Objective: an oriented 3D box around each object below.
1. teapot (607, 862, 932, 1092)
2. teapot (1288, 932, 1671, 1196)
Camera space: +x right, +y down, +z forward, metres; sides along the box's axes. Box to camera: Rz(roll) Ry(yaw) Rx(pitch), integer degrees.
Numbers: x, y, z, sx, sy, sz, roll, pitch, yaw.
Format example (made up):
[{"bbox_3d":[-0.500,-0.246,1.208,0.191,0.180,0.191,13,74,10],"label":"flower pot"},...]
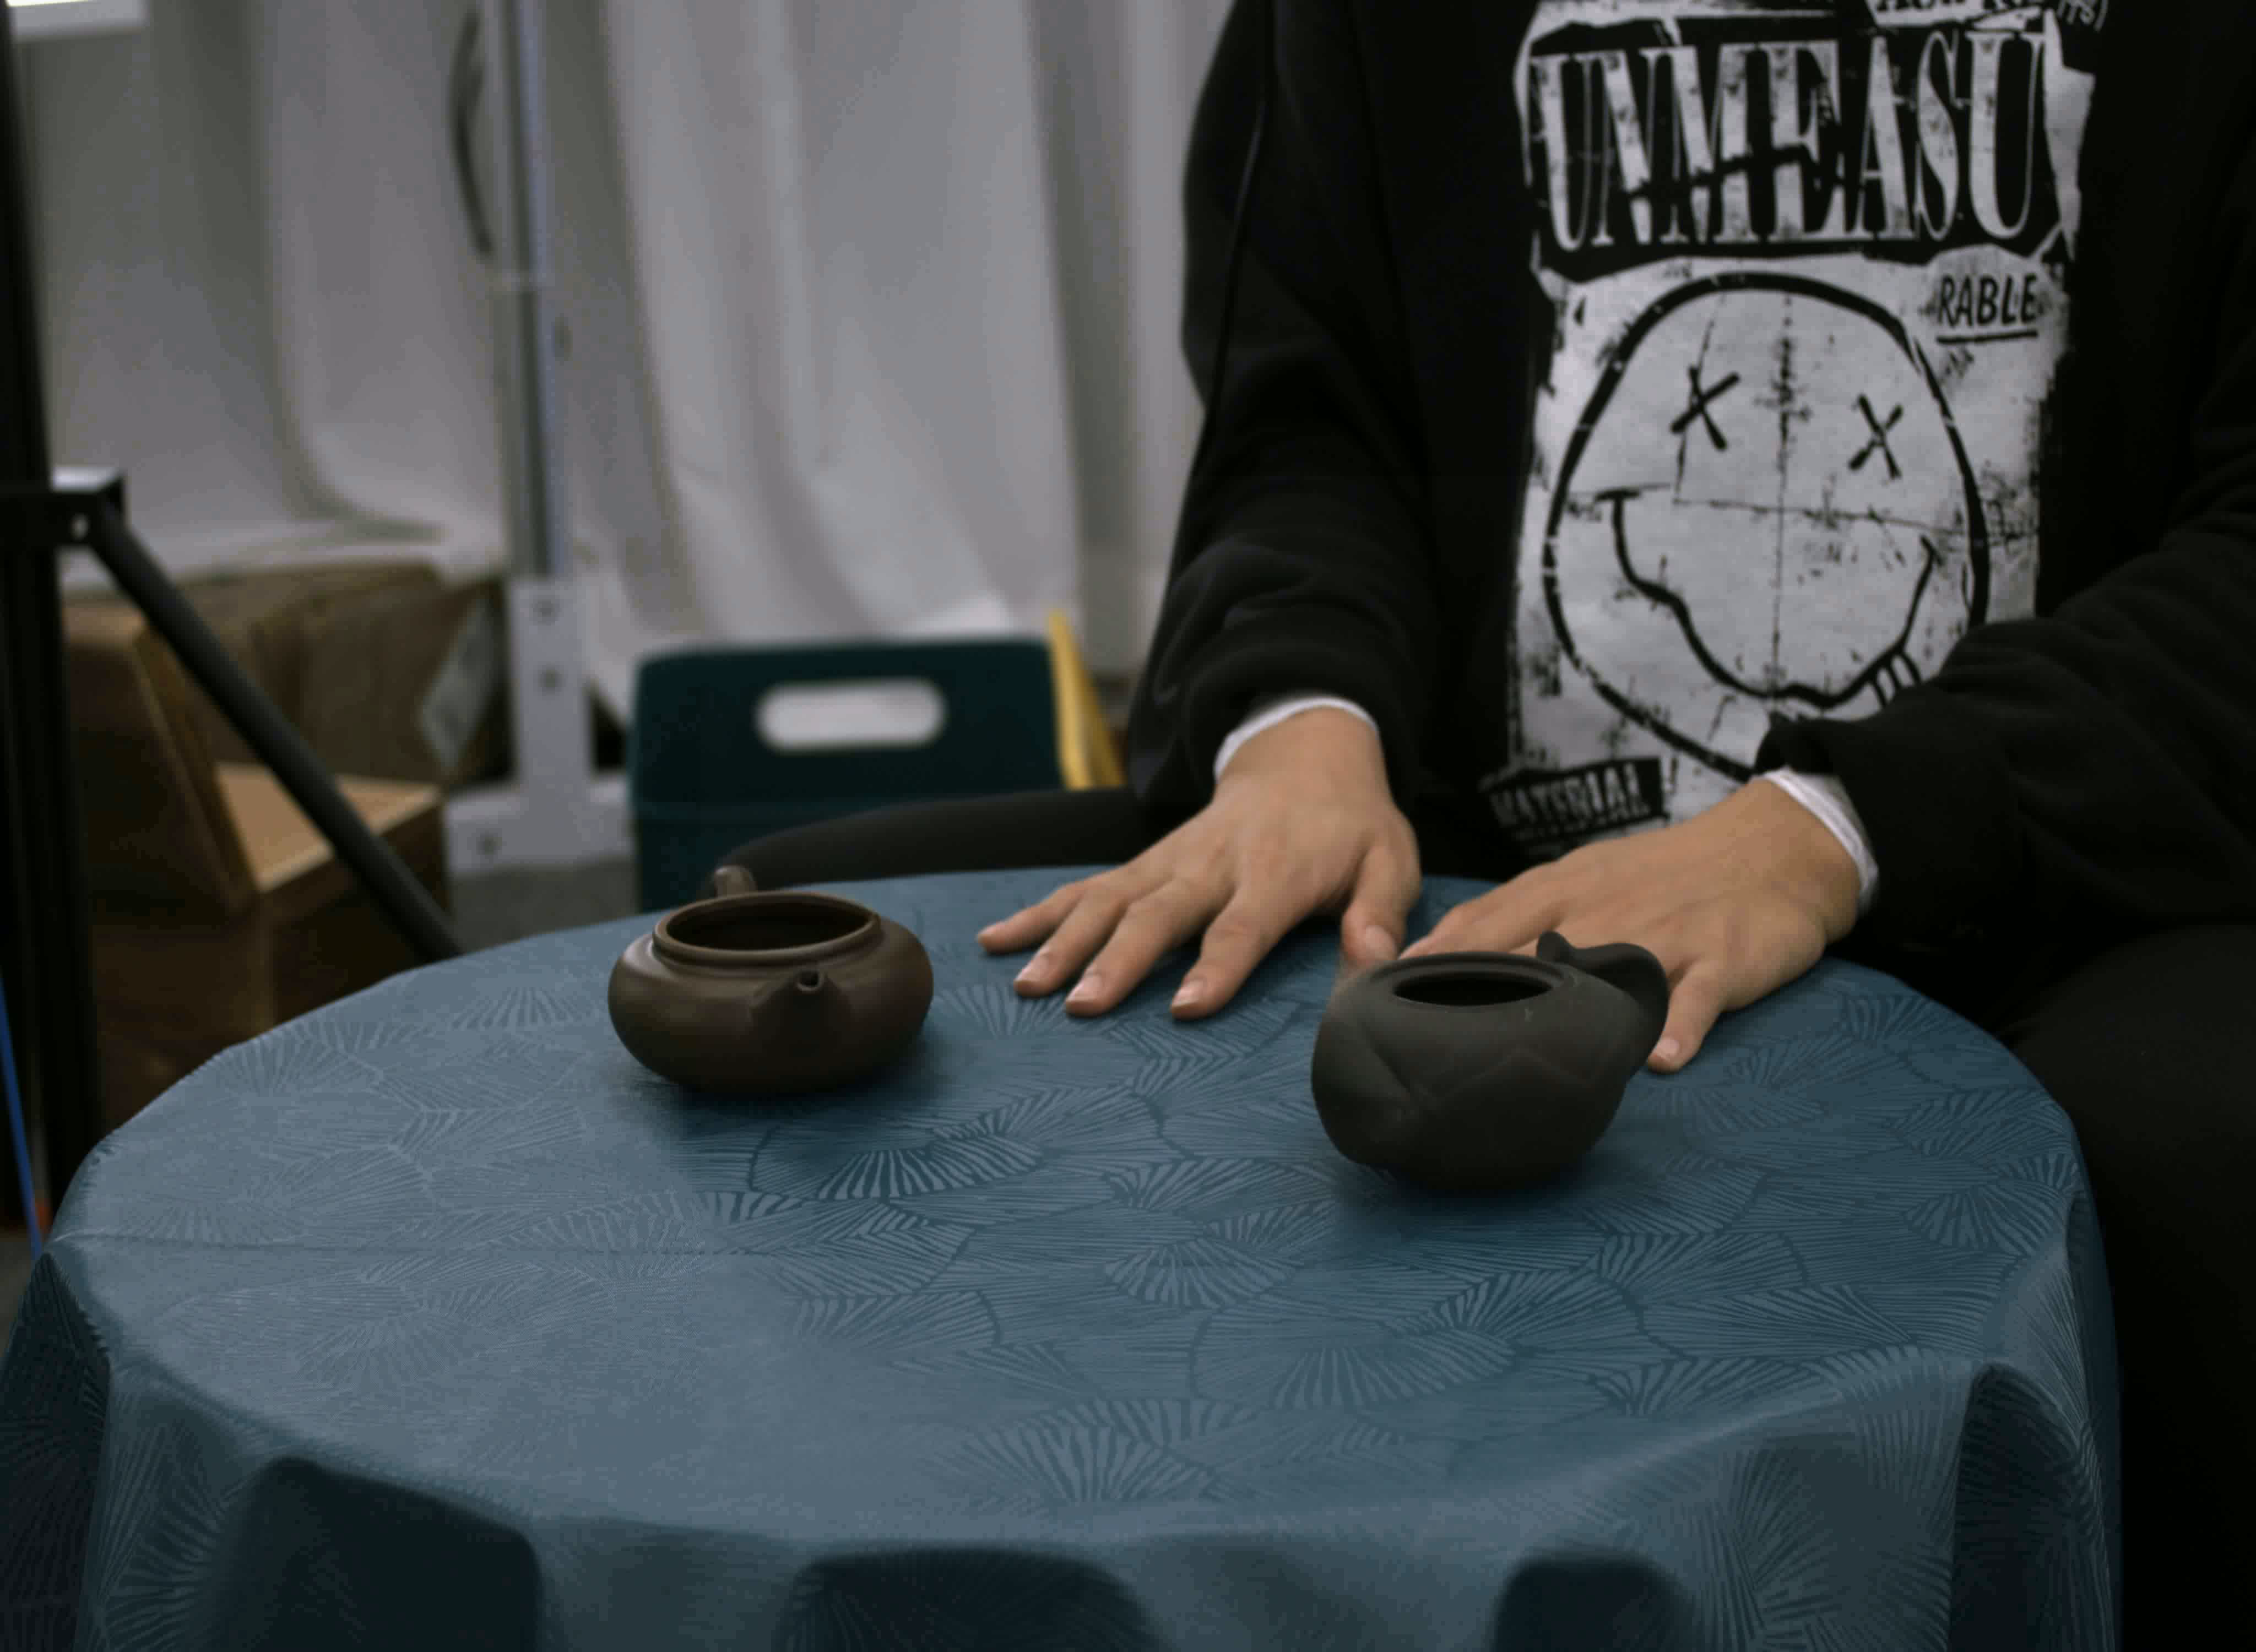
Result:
[{"bbox_3d":[-0.114,0.049,1.682,0.101,0.054,0.156,-5,16,-18],"label":"teapot"},{"bbox_3d":[0.104,0.070,1.556,0.151,0.064,0.094,-16,22,-37],"label":"teapot"}]
